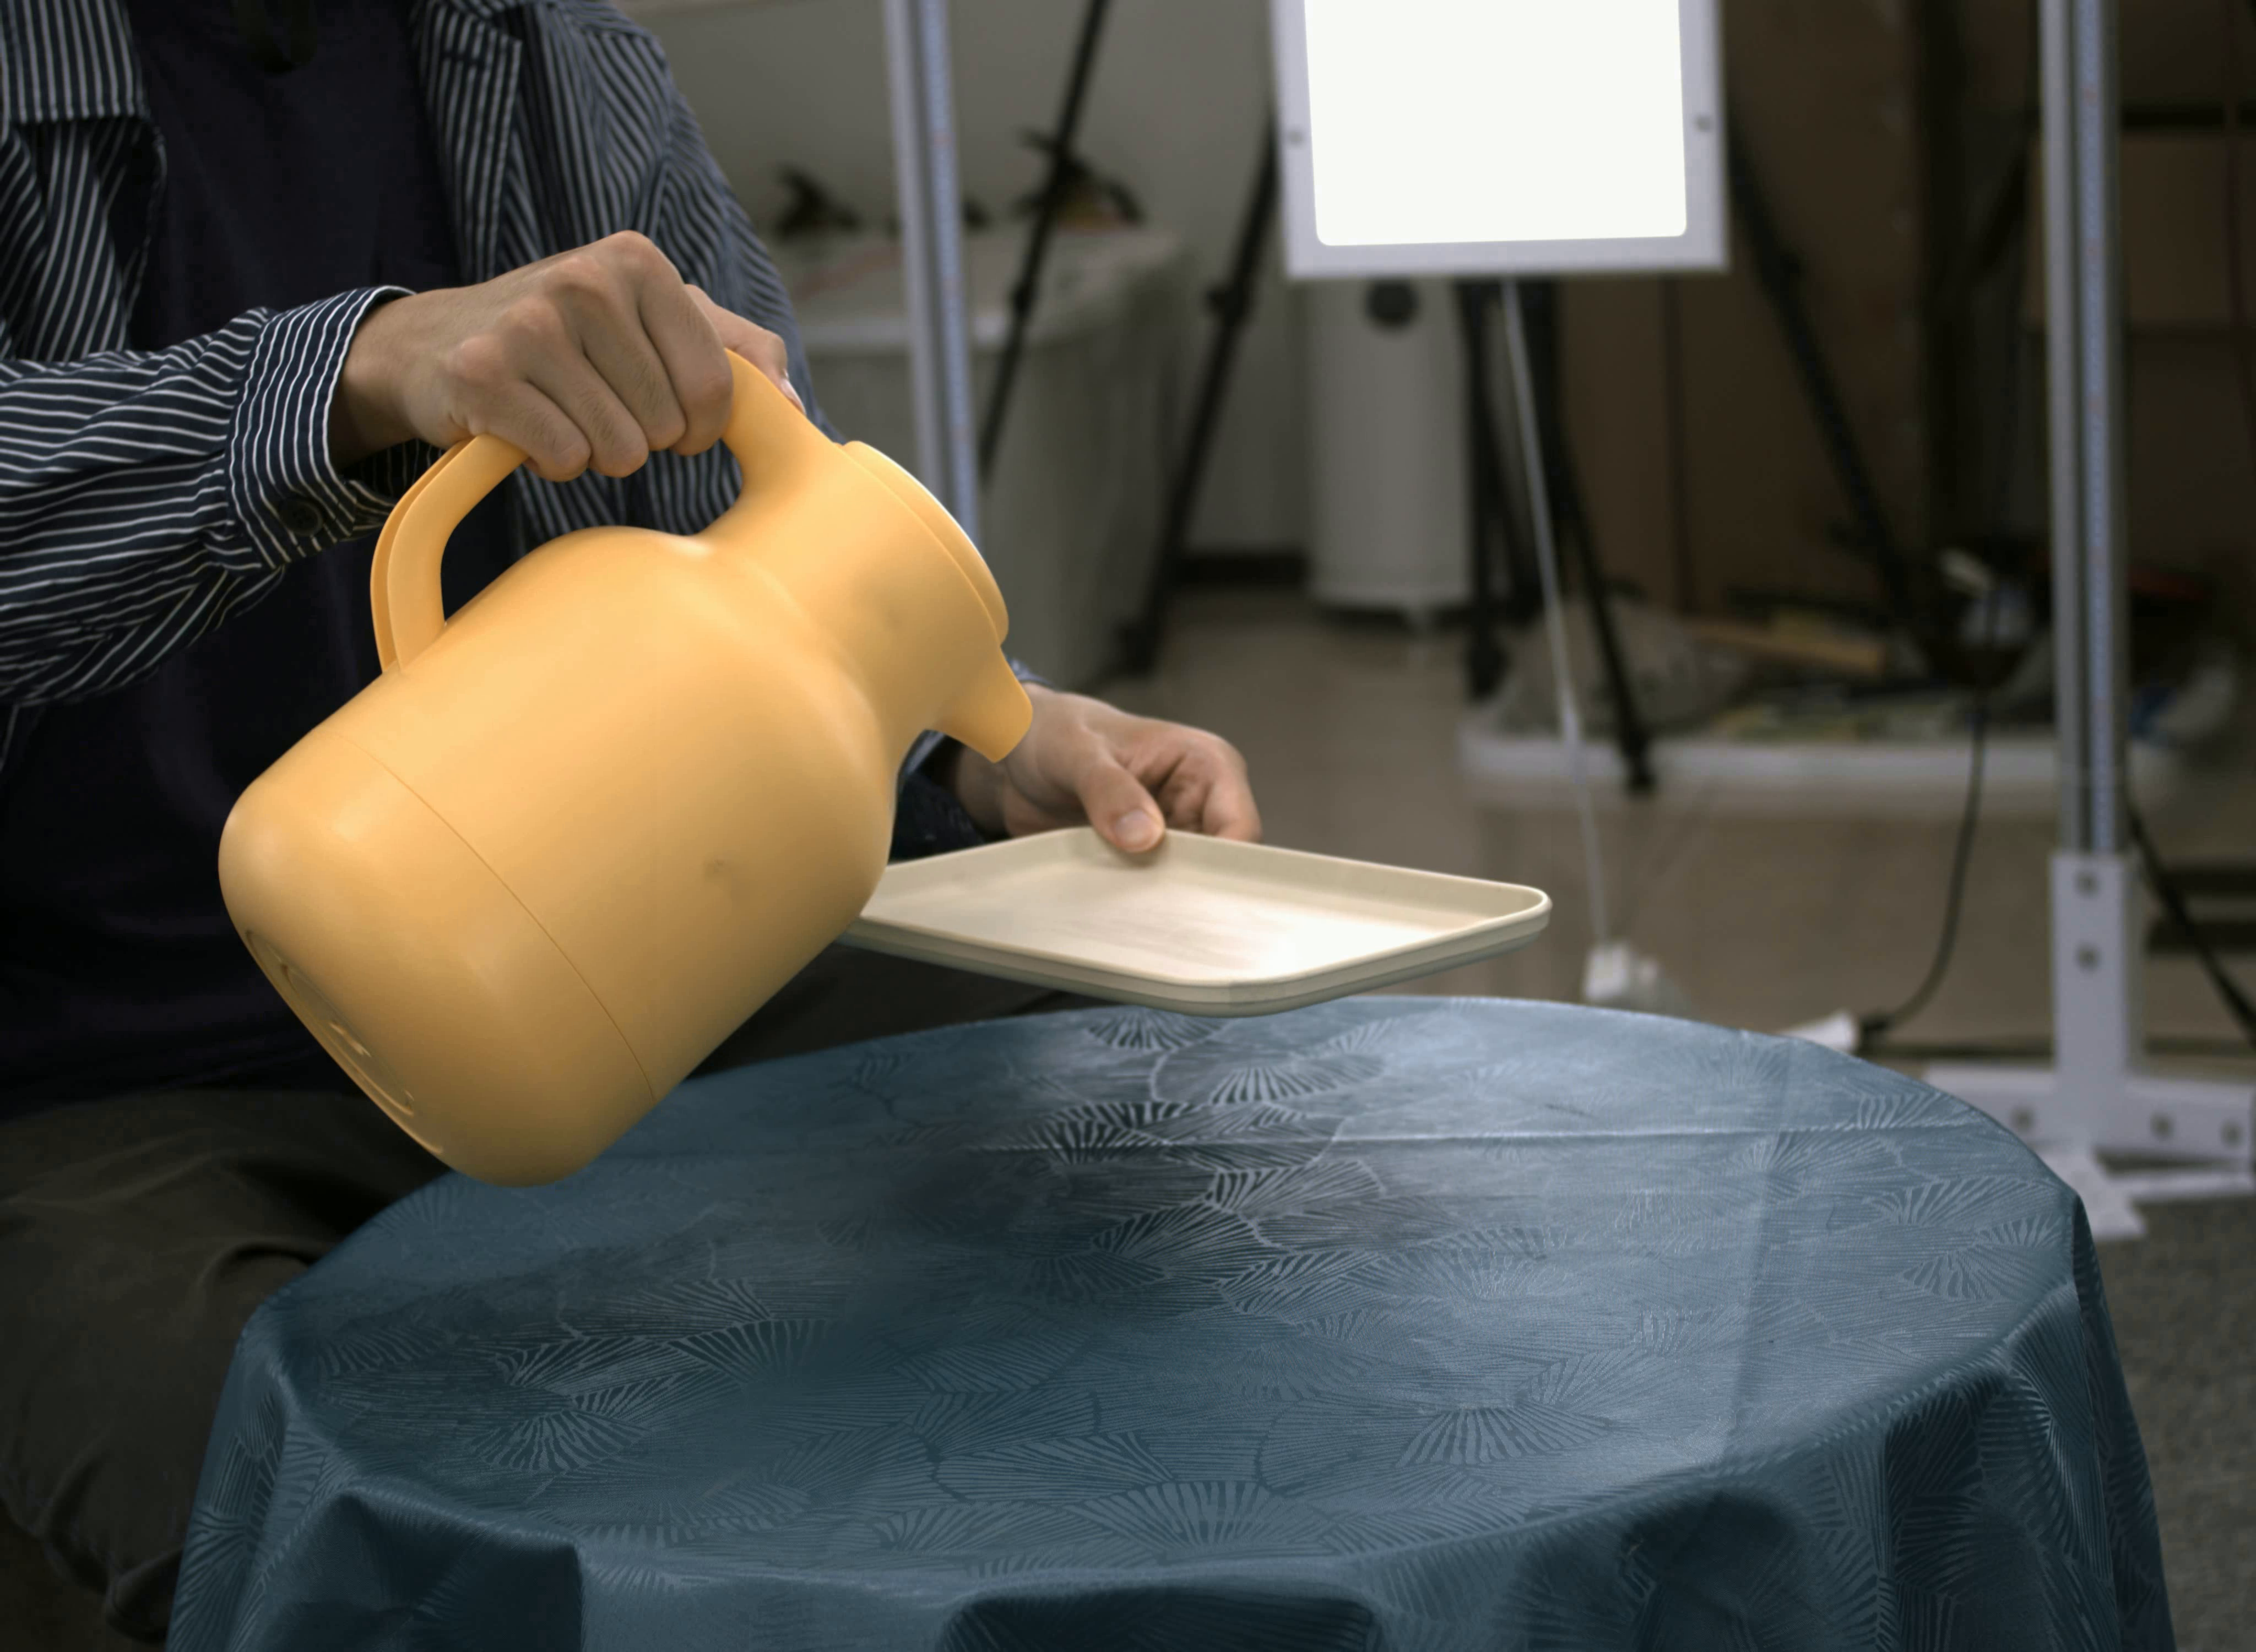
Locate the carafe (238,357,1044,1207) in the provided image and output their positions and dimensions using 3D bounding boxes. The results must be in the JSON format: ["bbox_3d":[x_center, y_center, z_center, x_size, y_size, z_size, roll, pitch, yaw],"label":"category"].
[{"bbox_3d":[-0.164,-0.023,1.790,0.258,0.201,0.166,-42,16,-14],"label":"carafe"}]

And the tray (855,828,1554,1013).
[{"bbox_3d":[0.014,0.032,1.878,0.167,0.017,0.245,-12,14,-41],"label":"tray"}]
